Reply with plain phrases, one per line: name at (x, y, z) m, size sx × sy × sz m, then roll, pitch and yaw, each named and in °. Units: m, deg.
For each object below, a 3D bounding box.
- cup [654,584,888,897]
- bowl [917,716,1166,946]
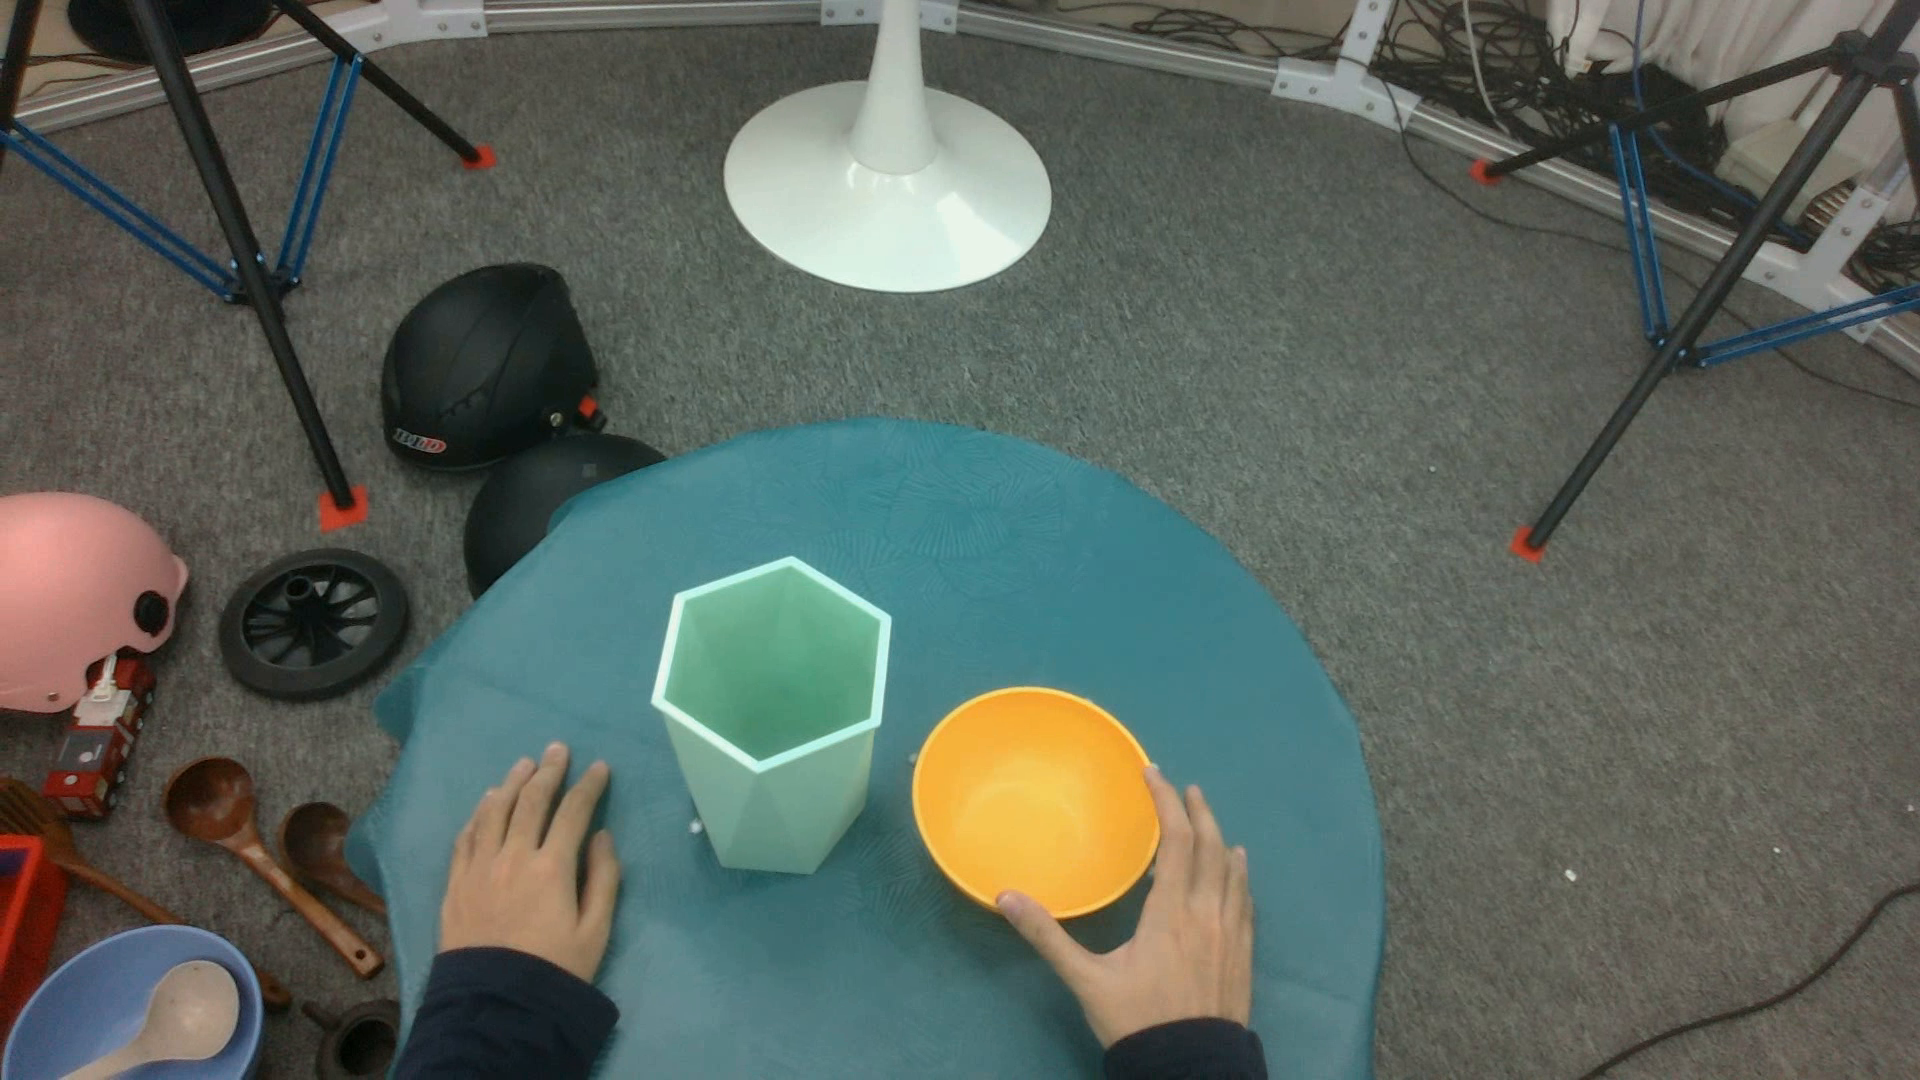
cup at (-0.102, 0.123, 0.778) m, size 0.131 × 0.162 × 0.116 m, roll 27°, pitch 54°, yaw 16°
bowl at (0.046, 0.181, 0.819) m, size 0.145 × 0.060 × 0.146 m, roll 2°, pitch 51°, yaw -2°
